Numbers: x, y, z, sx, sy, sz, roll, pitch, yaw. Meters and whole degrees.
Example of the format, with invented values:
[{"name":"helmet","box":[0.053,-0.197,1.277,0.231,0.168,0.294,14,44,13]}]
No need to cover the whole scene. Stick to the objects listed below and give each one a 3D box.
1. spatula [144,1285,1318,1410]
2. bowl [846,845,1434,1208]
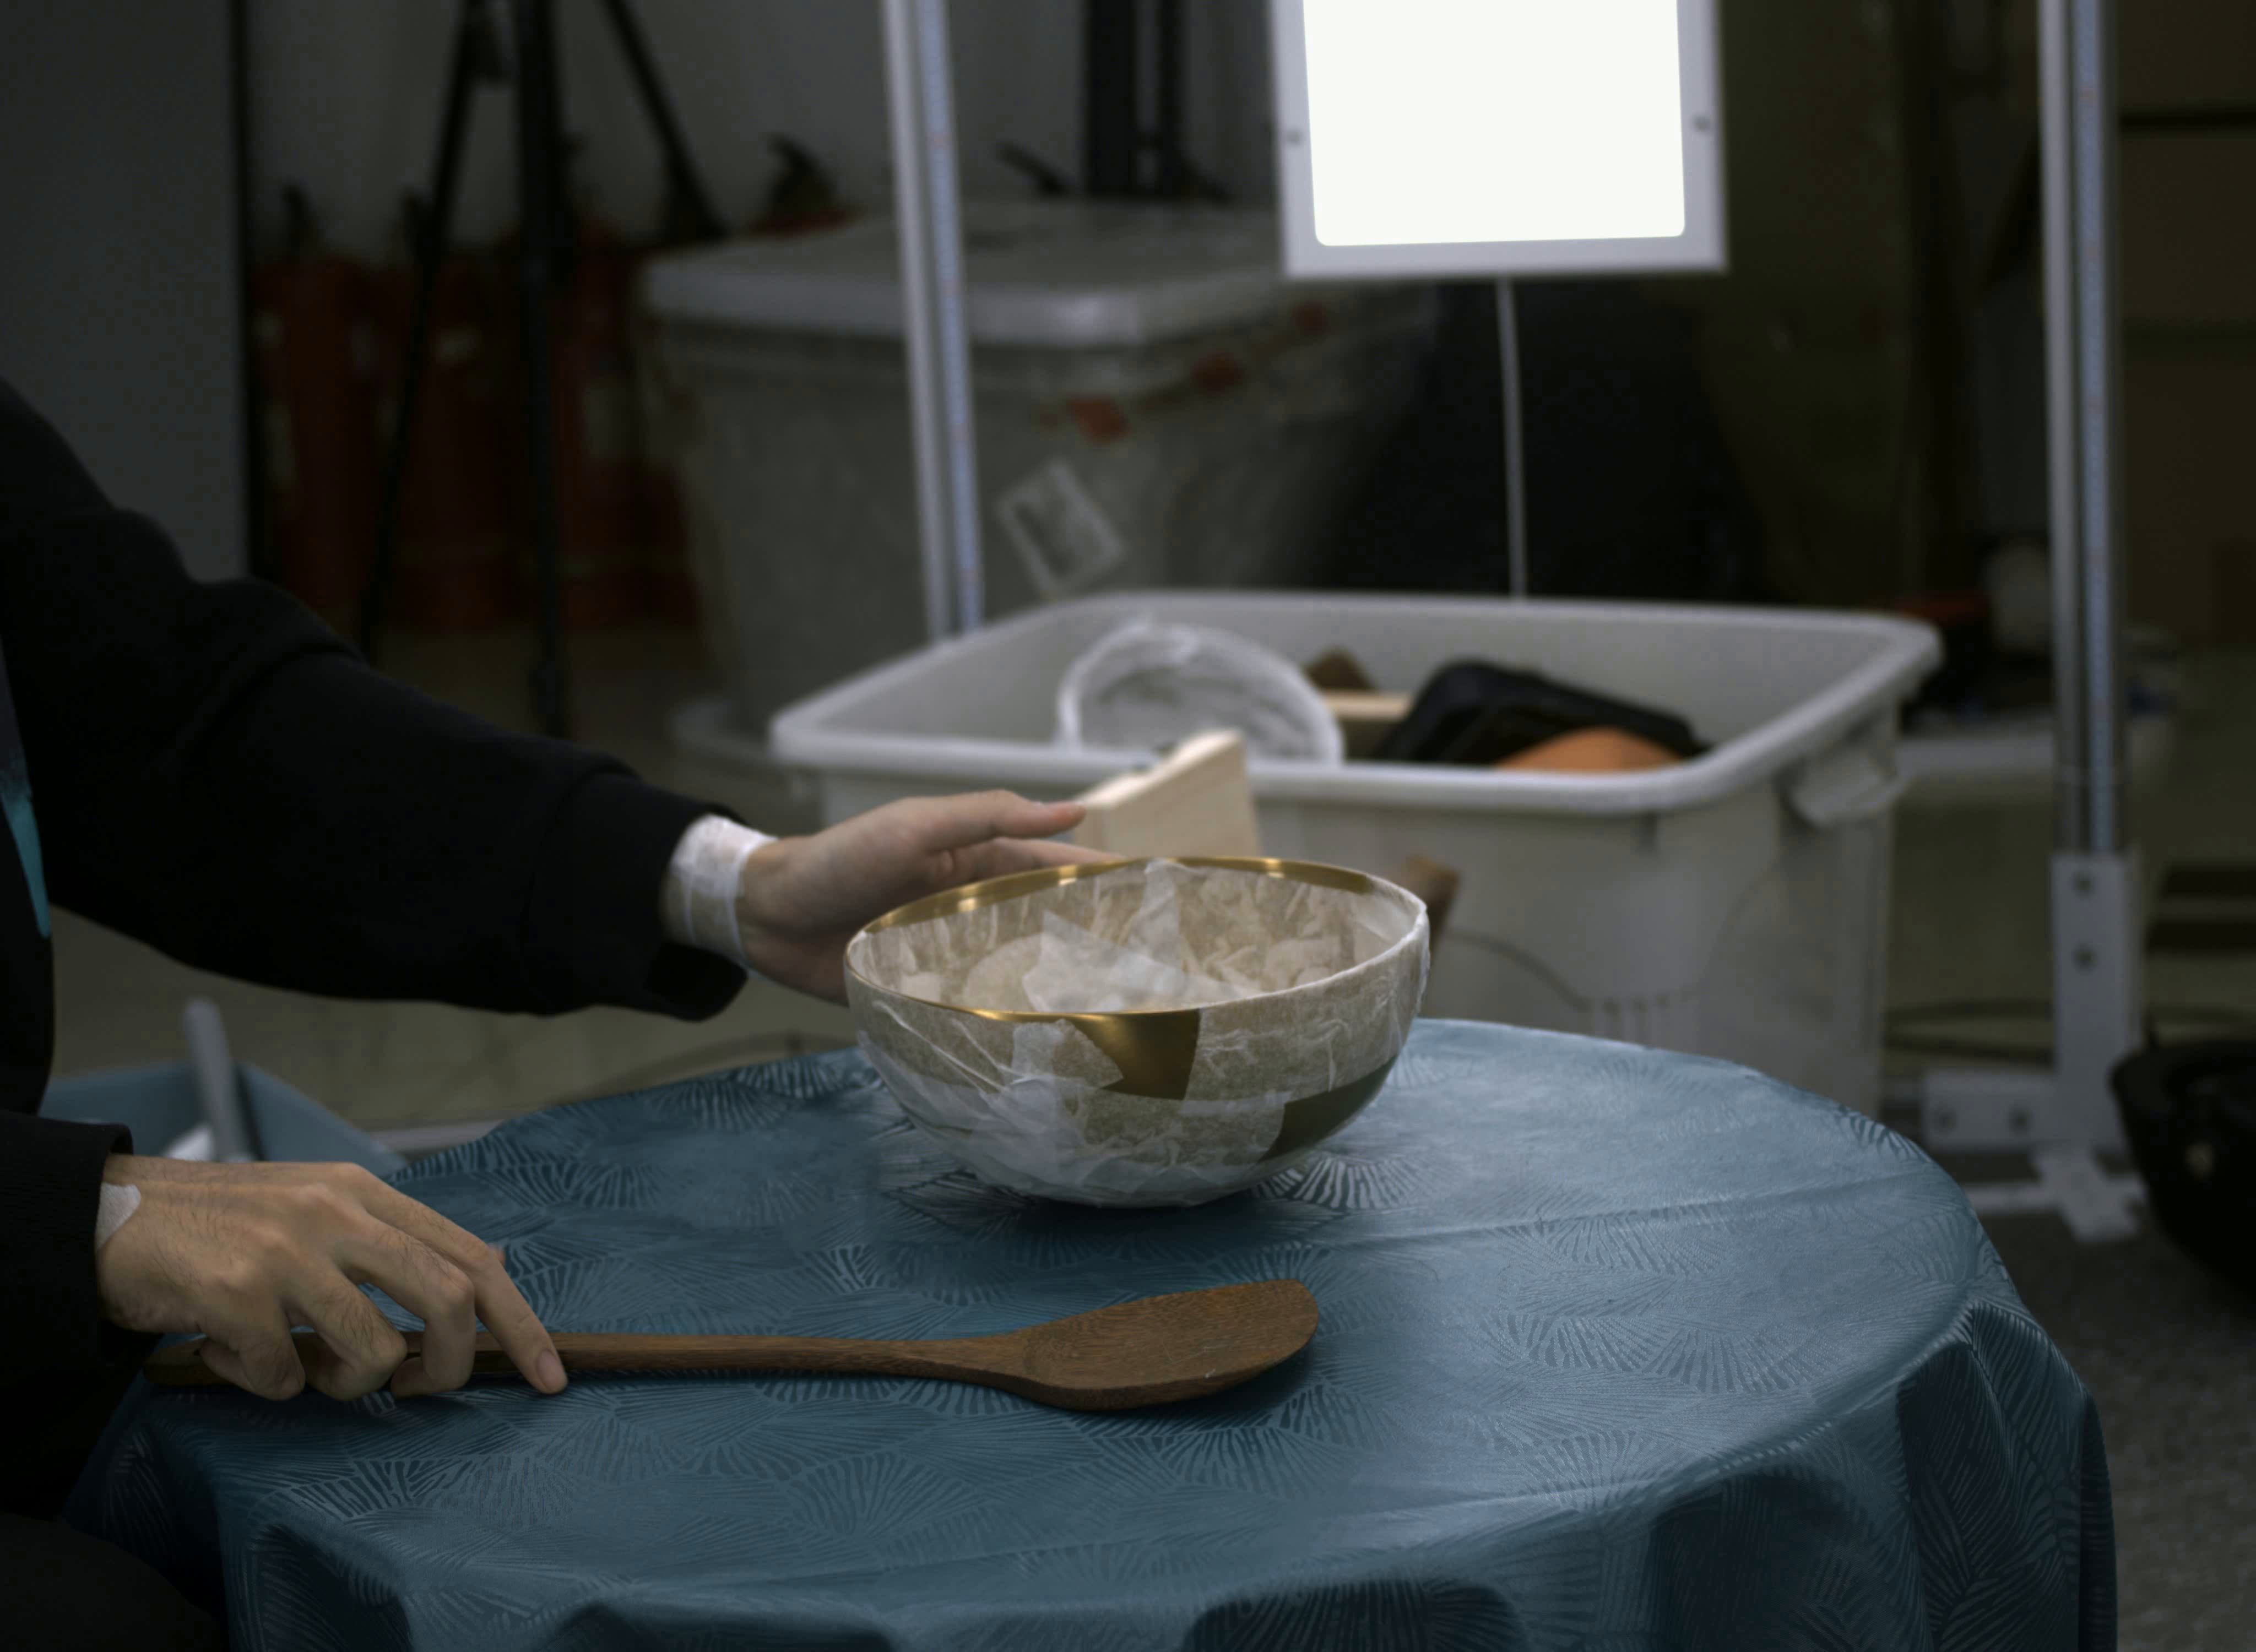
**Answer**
[{"name":"spatula","box":[-0.130,0.167,1.750,0.389,0.016,0.095,-2,14,14]},{"name":"bowl","box":[0.005,0.076,1.901,0.214,0.095,0.214,-6,15,0]}]
